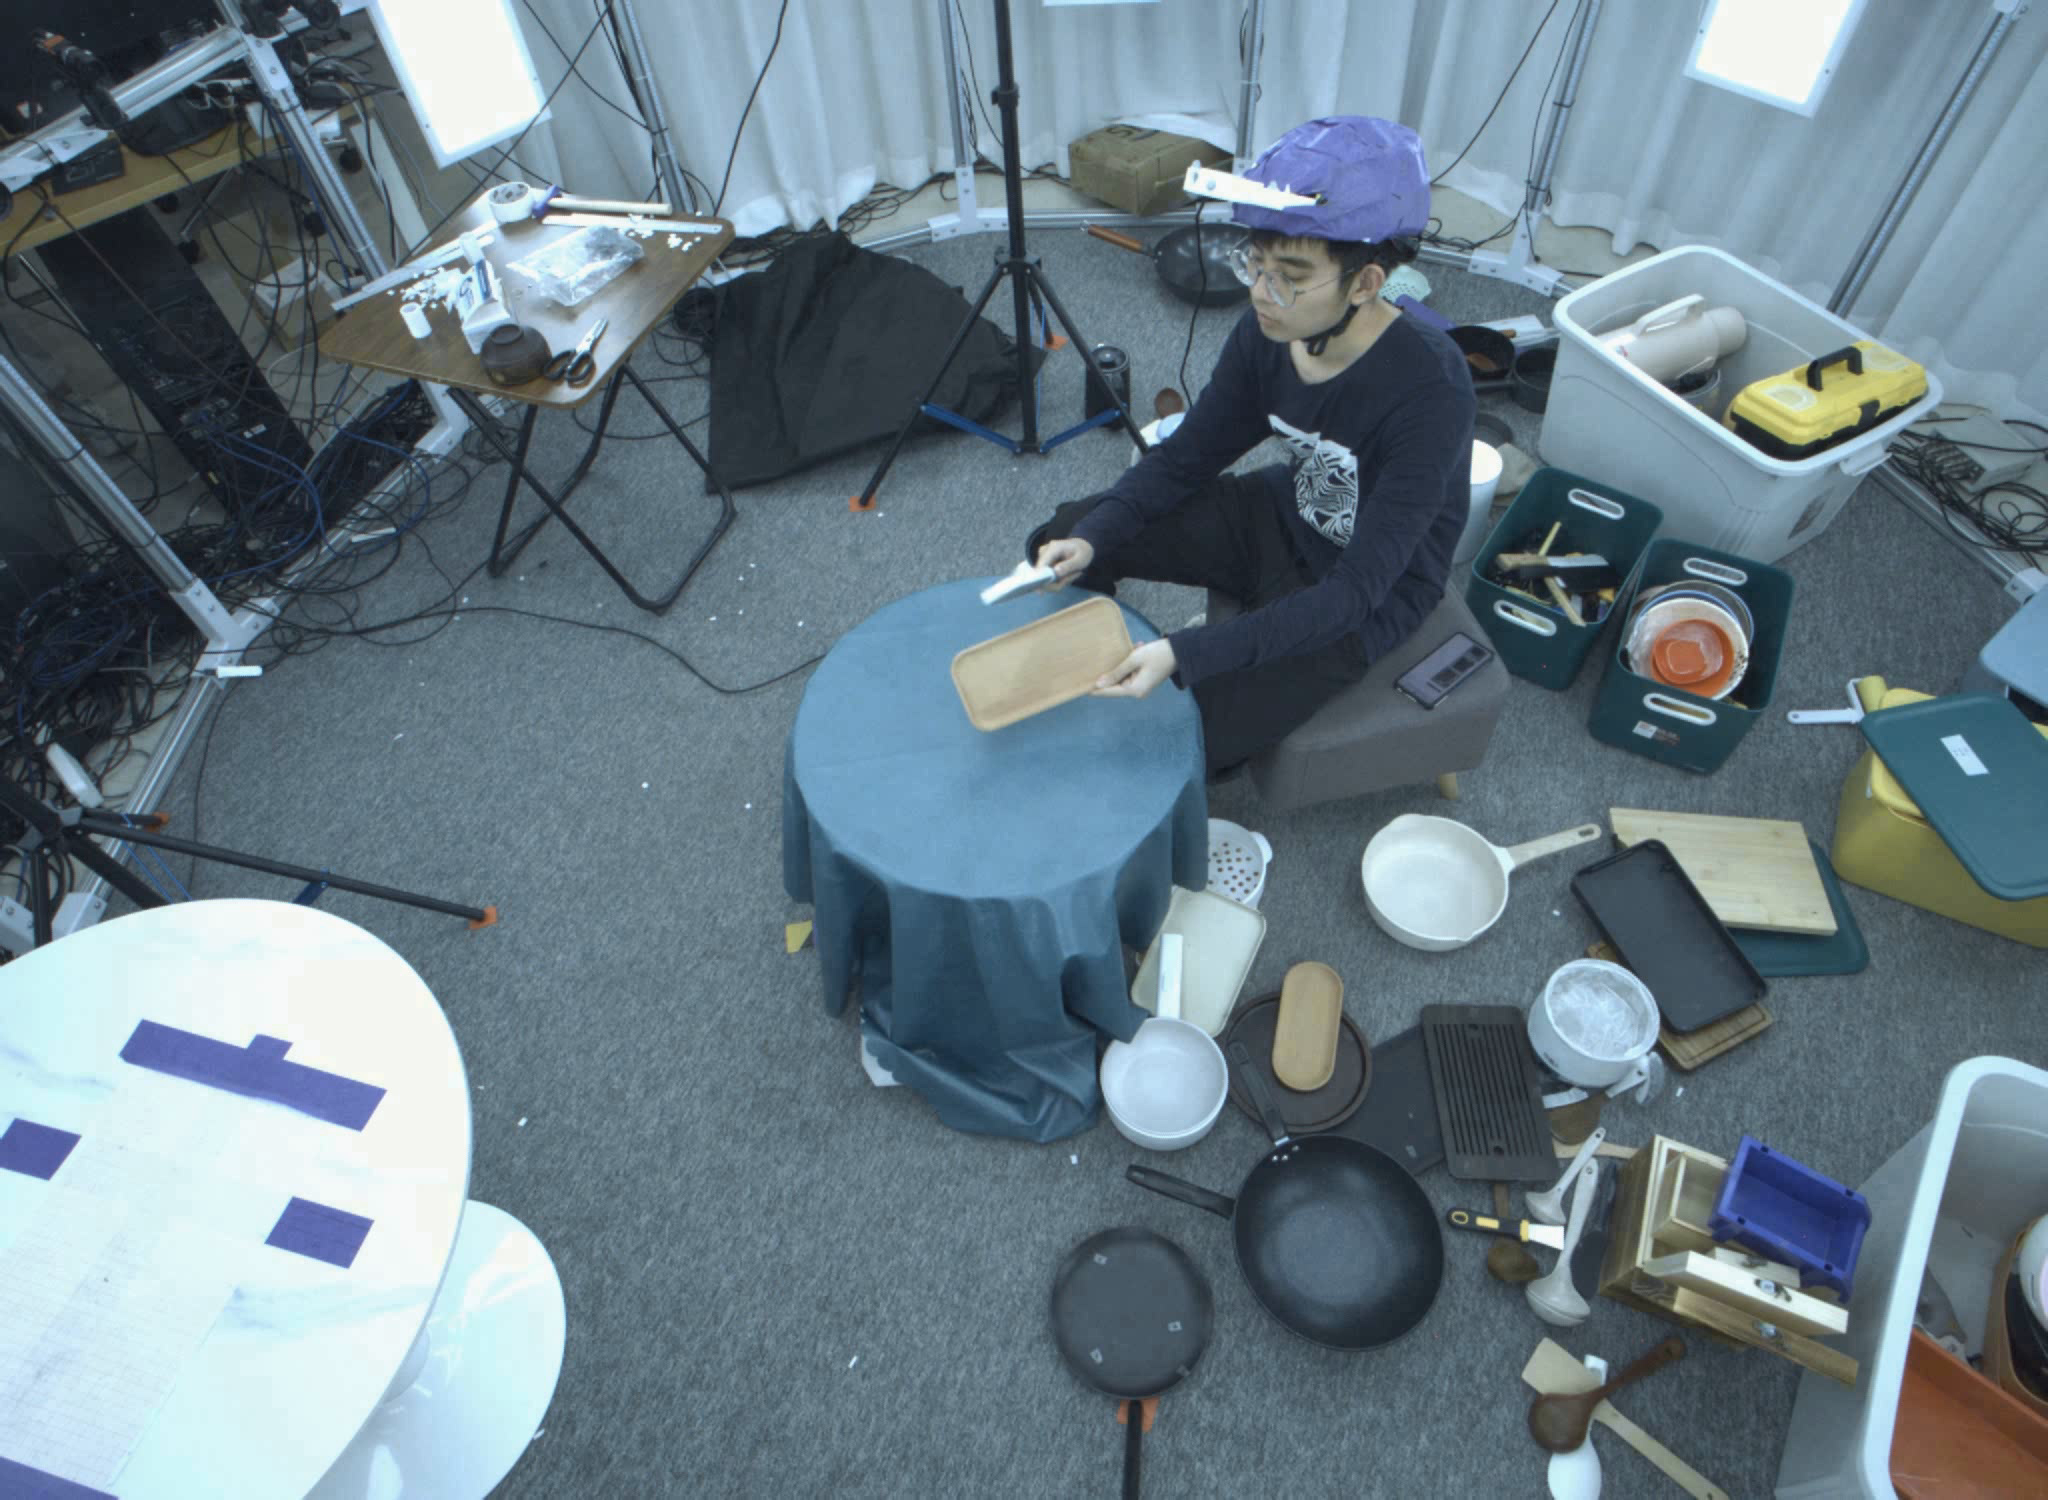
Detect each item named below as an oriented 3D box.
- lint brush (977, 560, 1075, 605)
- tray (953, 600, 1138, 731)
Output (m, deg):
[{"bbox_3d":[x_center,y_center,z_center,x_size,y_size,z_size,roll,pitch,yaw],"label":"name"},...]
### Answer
[{"bbox_3d":[0.011,-0.248,1.774,0.021,0.059,0.312,55,27,1],"label":"lint brush"},{"bbox_3d":[0.030,-0.118,1.720,0.251,0.132,0.022,-20,29,-3],"label":"tray"}]
